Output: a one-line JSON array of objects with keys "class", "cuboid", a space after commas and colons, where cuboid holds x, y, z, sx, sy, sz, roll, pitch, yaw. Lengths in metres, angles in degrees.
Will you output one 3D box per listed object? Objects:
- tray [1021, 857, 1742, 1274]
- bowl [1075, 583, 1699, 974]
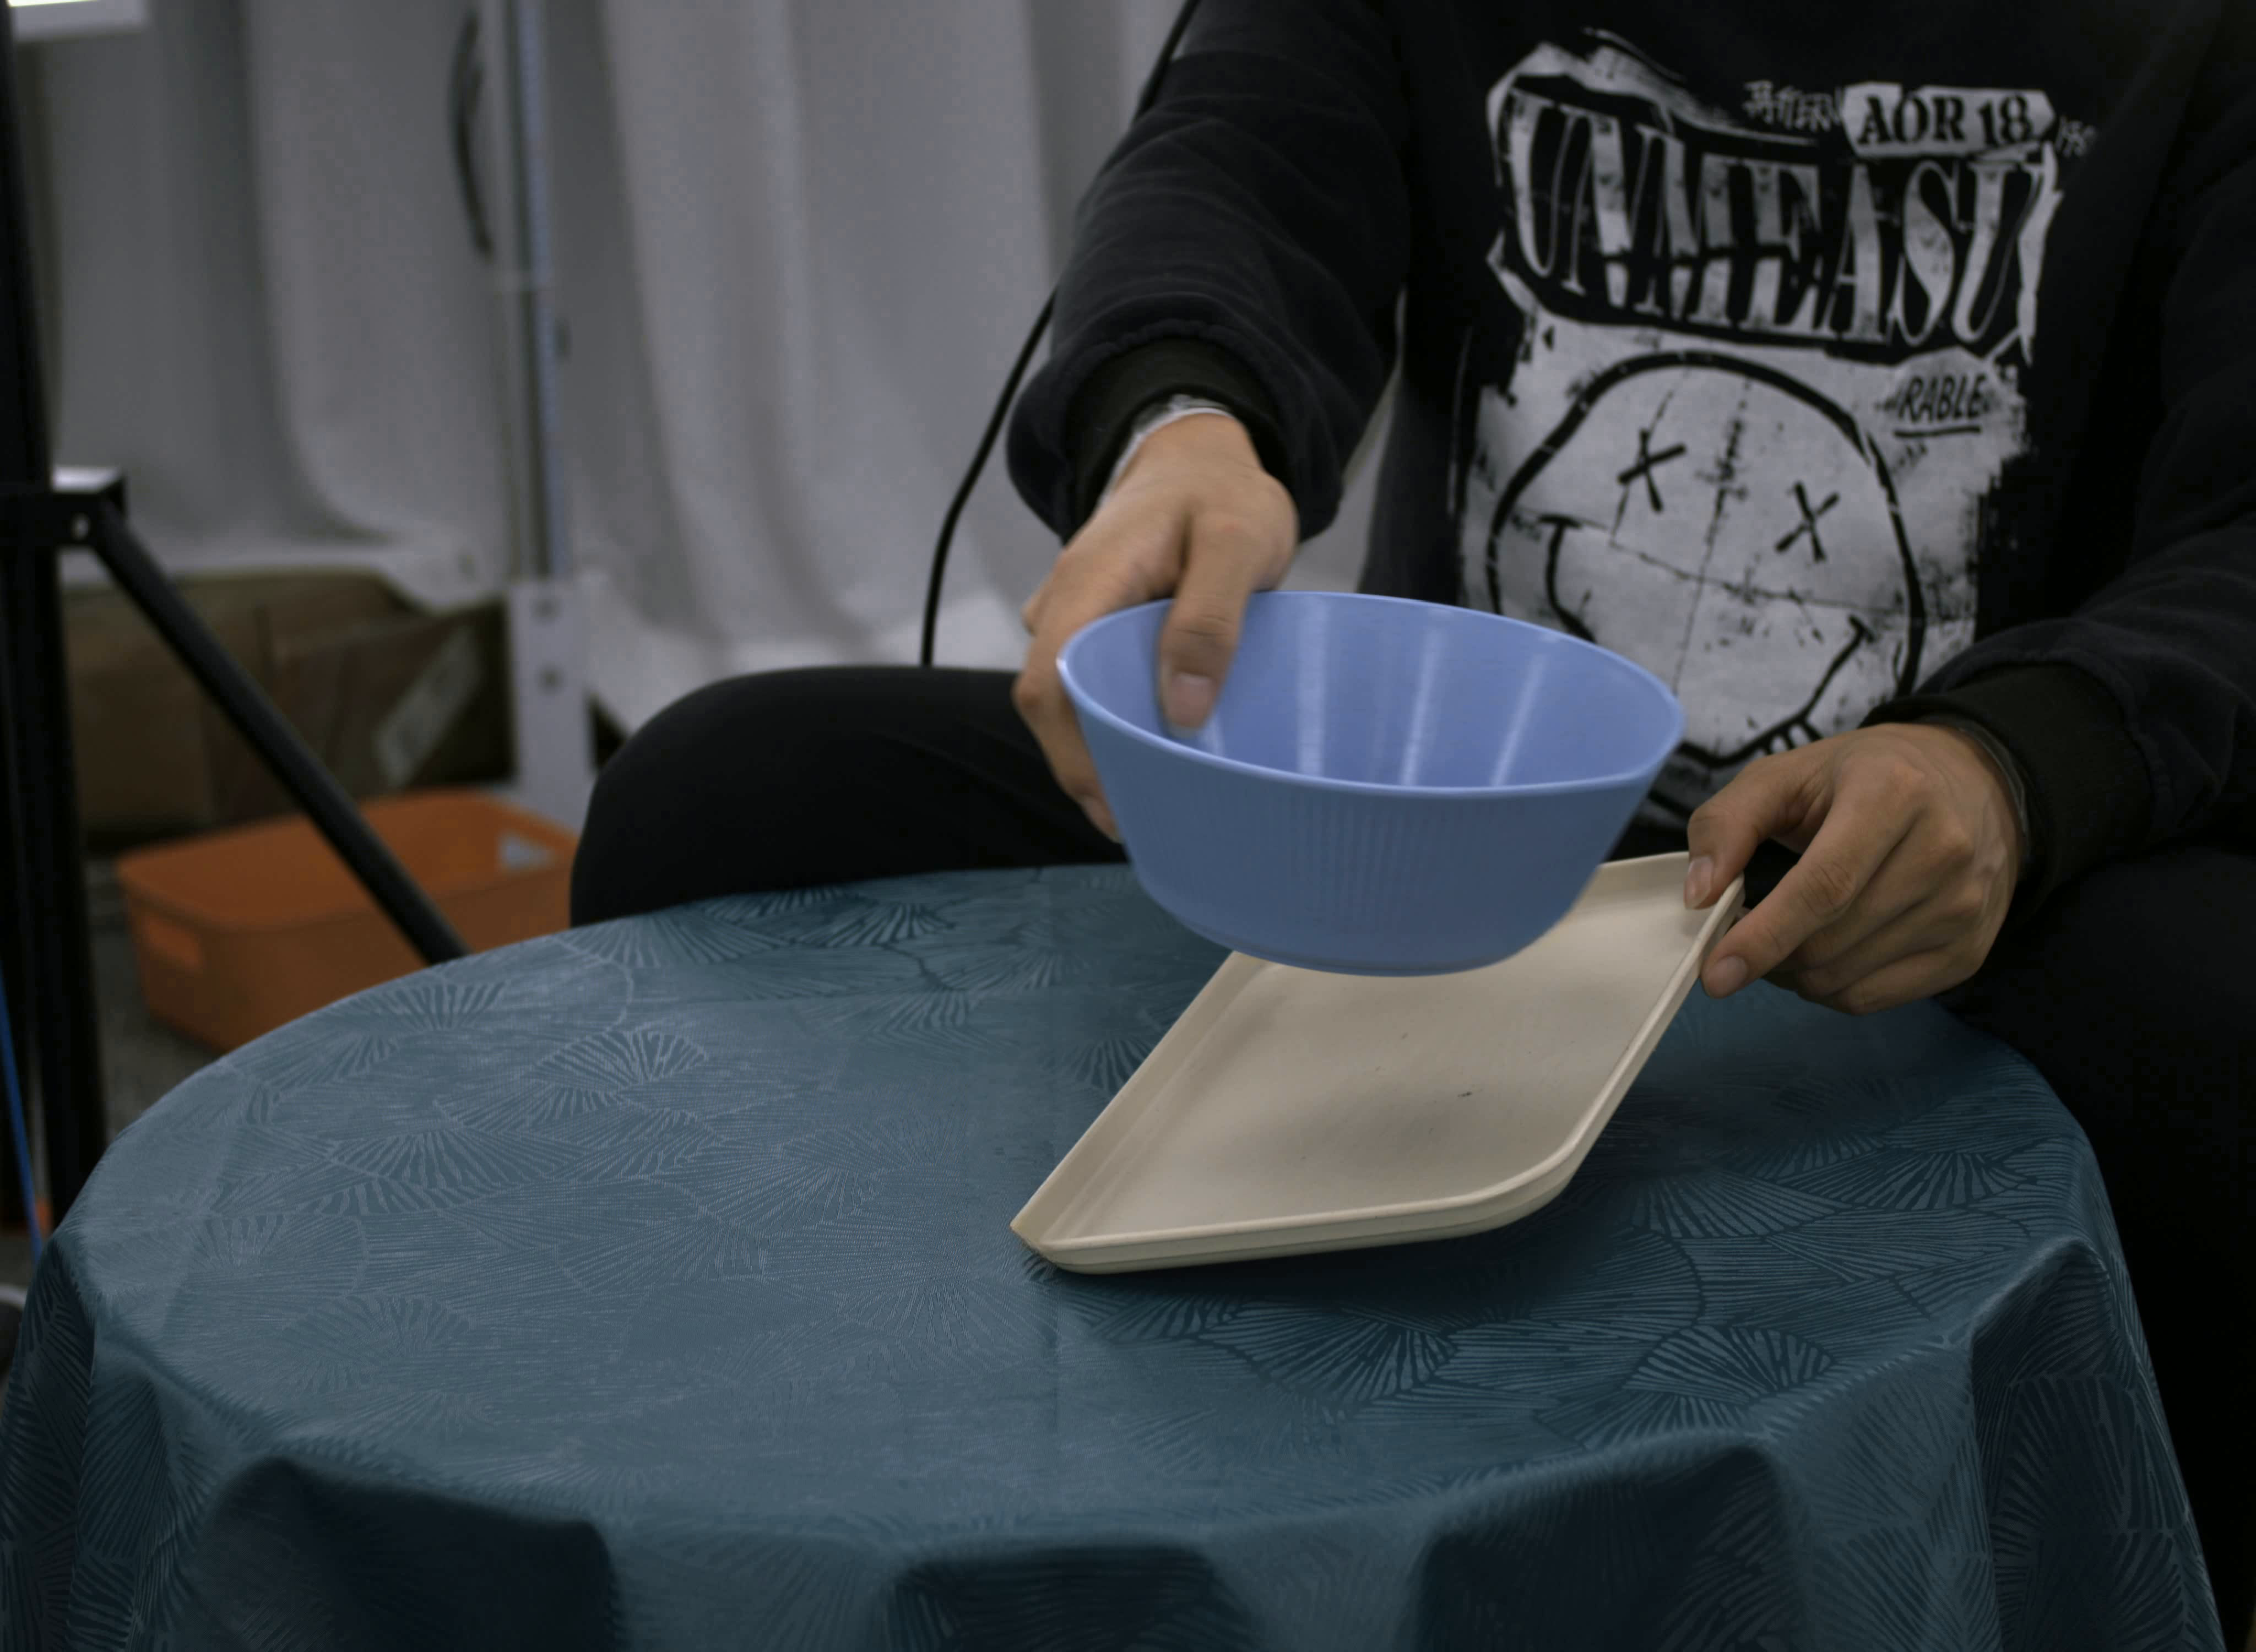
[{"class": "tray", "cuboid": [0.079, 0.070, 1.553, 0.173, 0.017, 0.237, -8, 20, 26]}, {"class": "bowl", "cuboid": [0.069, -0.010, 1.490, 0.175, 0.070, 0.177, 4, 20, -3]}]
